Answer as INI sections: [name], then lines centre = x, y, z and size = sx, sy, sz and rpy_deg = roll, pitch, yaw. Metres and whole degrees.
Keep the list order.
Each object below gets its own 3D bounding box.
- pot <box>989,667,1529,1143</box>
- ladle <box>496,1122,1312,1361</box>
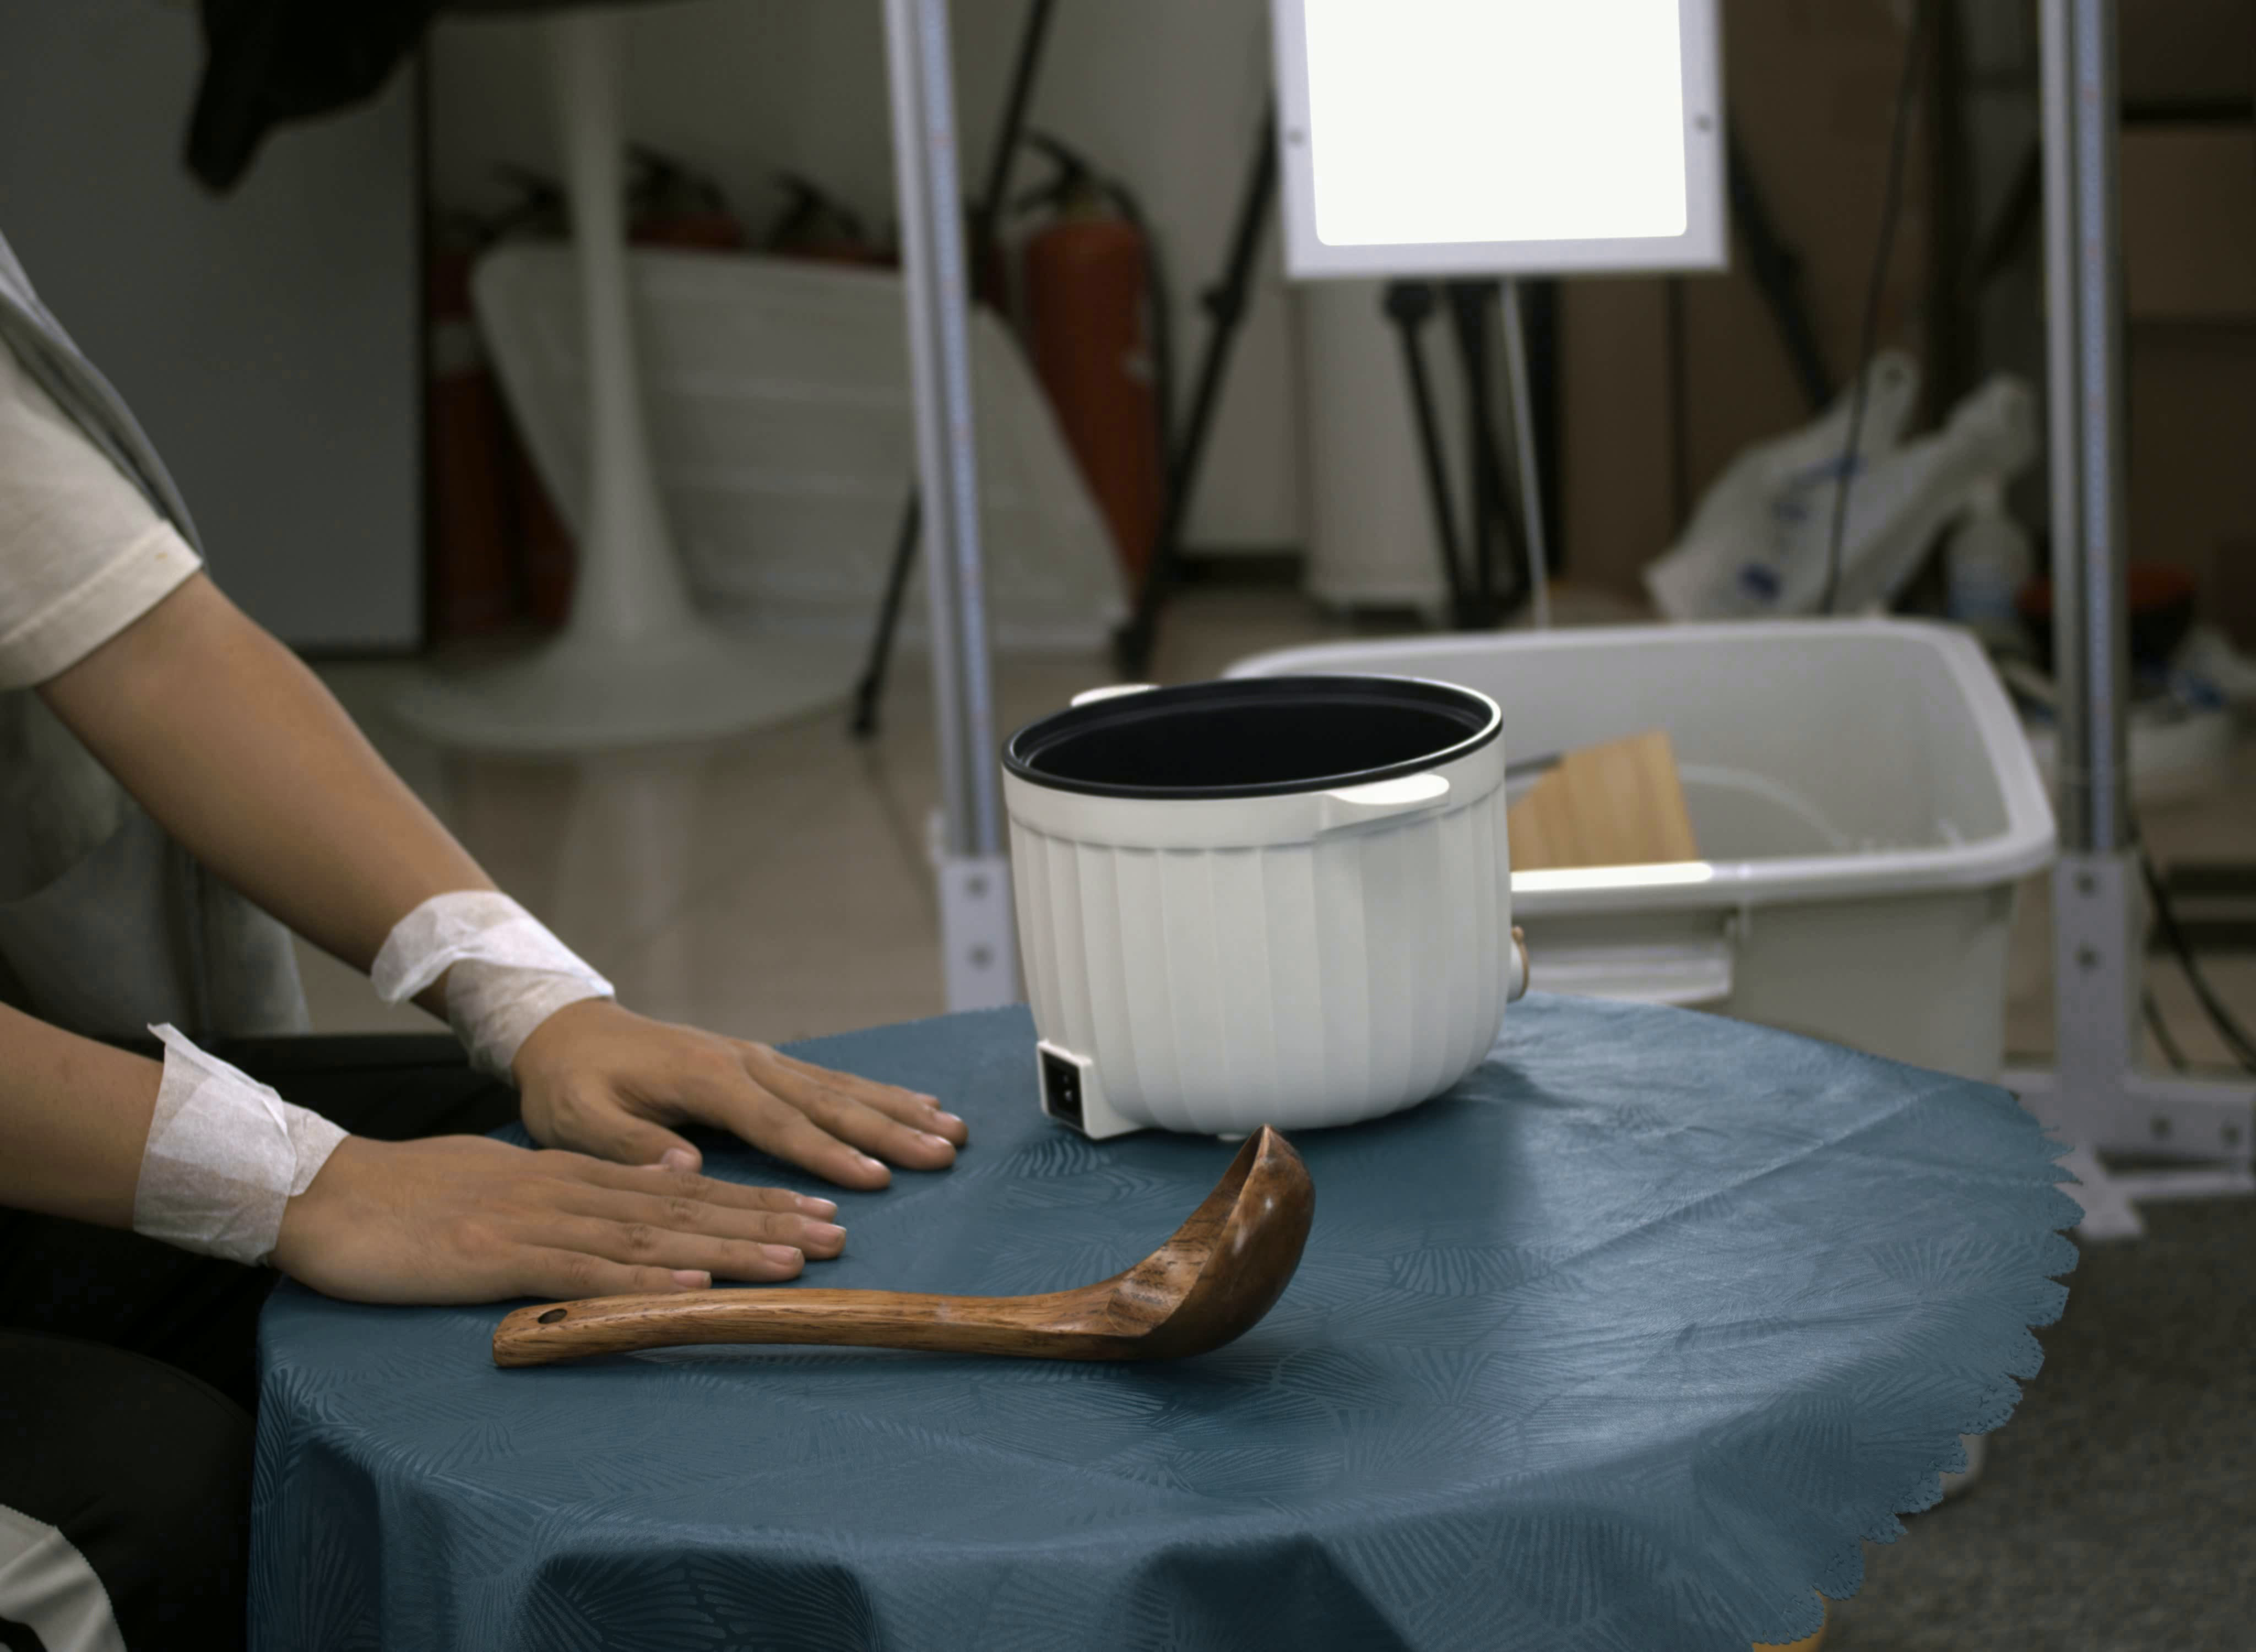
[pot]
centre = 0.054, 0.028, 1.988
size = 0.187, 0.143, 0.244
rpy_deg = -15, 18, -24
[ladle]
centre = -0.075, 0.132, 1.737
size = 0.277, 0.077, 0.081
rpy_deg = -1, 23, 16
